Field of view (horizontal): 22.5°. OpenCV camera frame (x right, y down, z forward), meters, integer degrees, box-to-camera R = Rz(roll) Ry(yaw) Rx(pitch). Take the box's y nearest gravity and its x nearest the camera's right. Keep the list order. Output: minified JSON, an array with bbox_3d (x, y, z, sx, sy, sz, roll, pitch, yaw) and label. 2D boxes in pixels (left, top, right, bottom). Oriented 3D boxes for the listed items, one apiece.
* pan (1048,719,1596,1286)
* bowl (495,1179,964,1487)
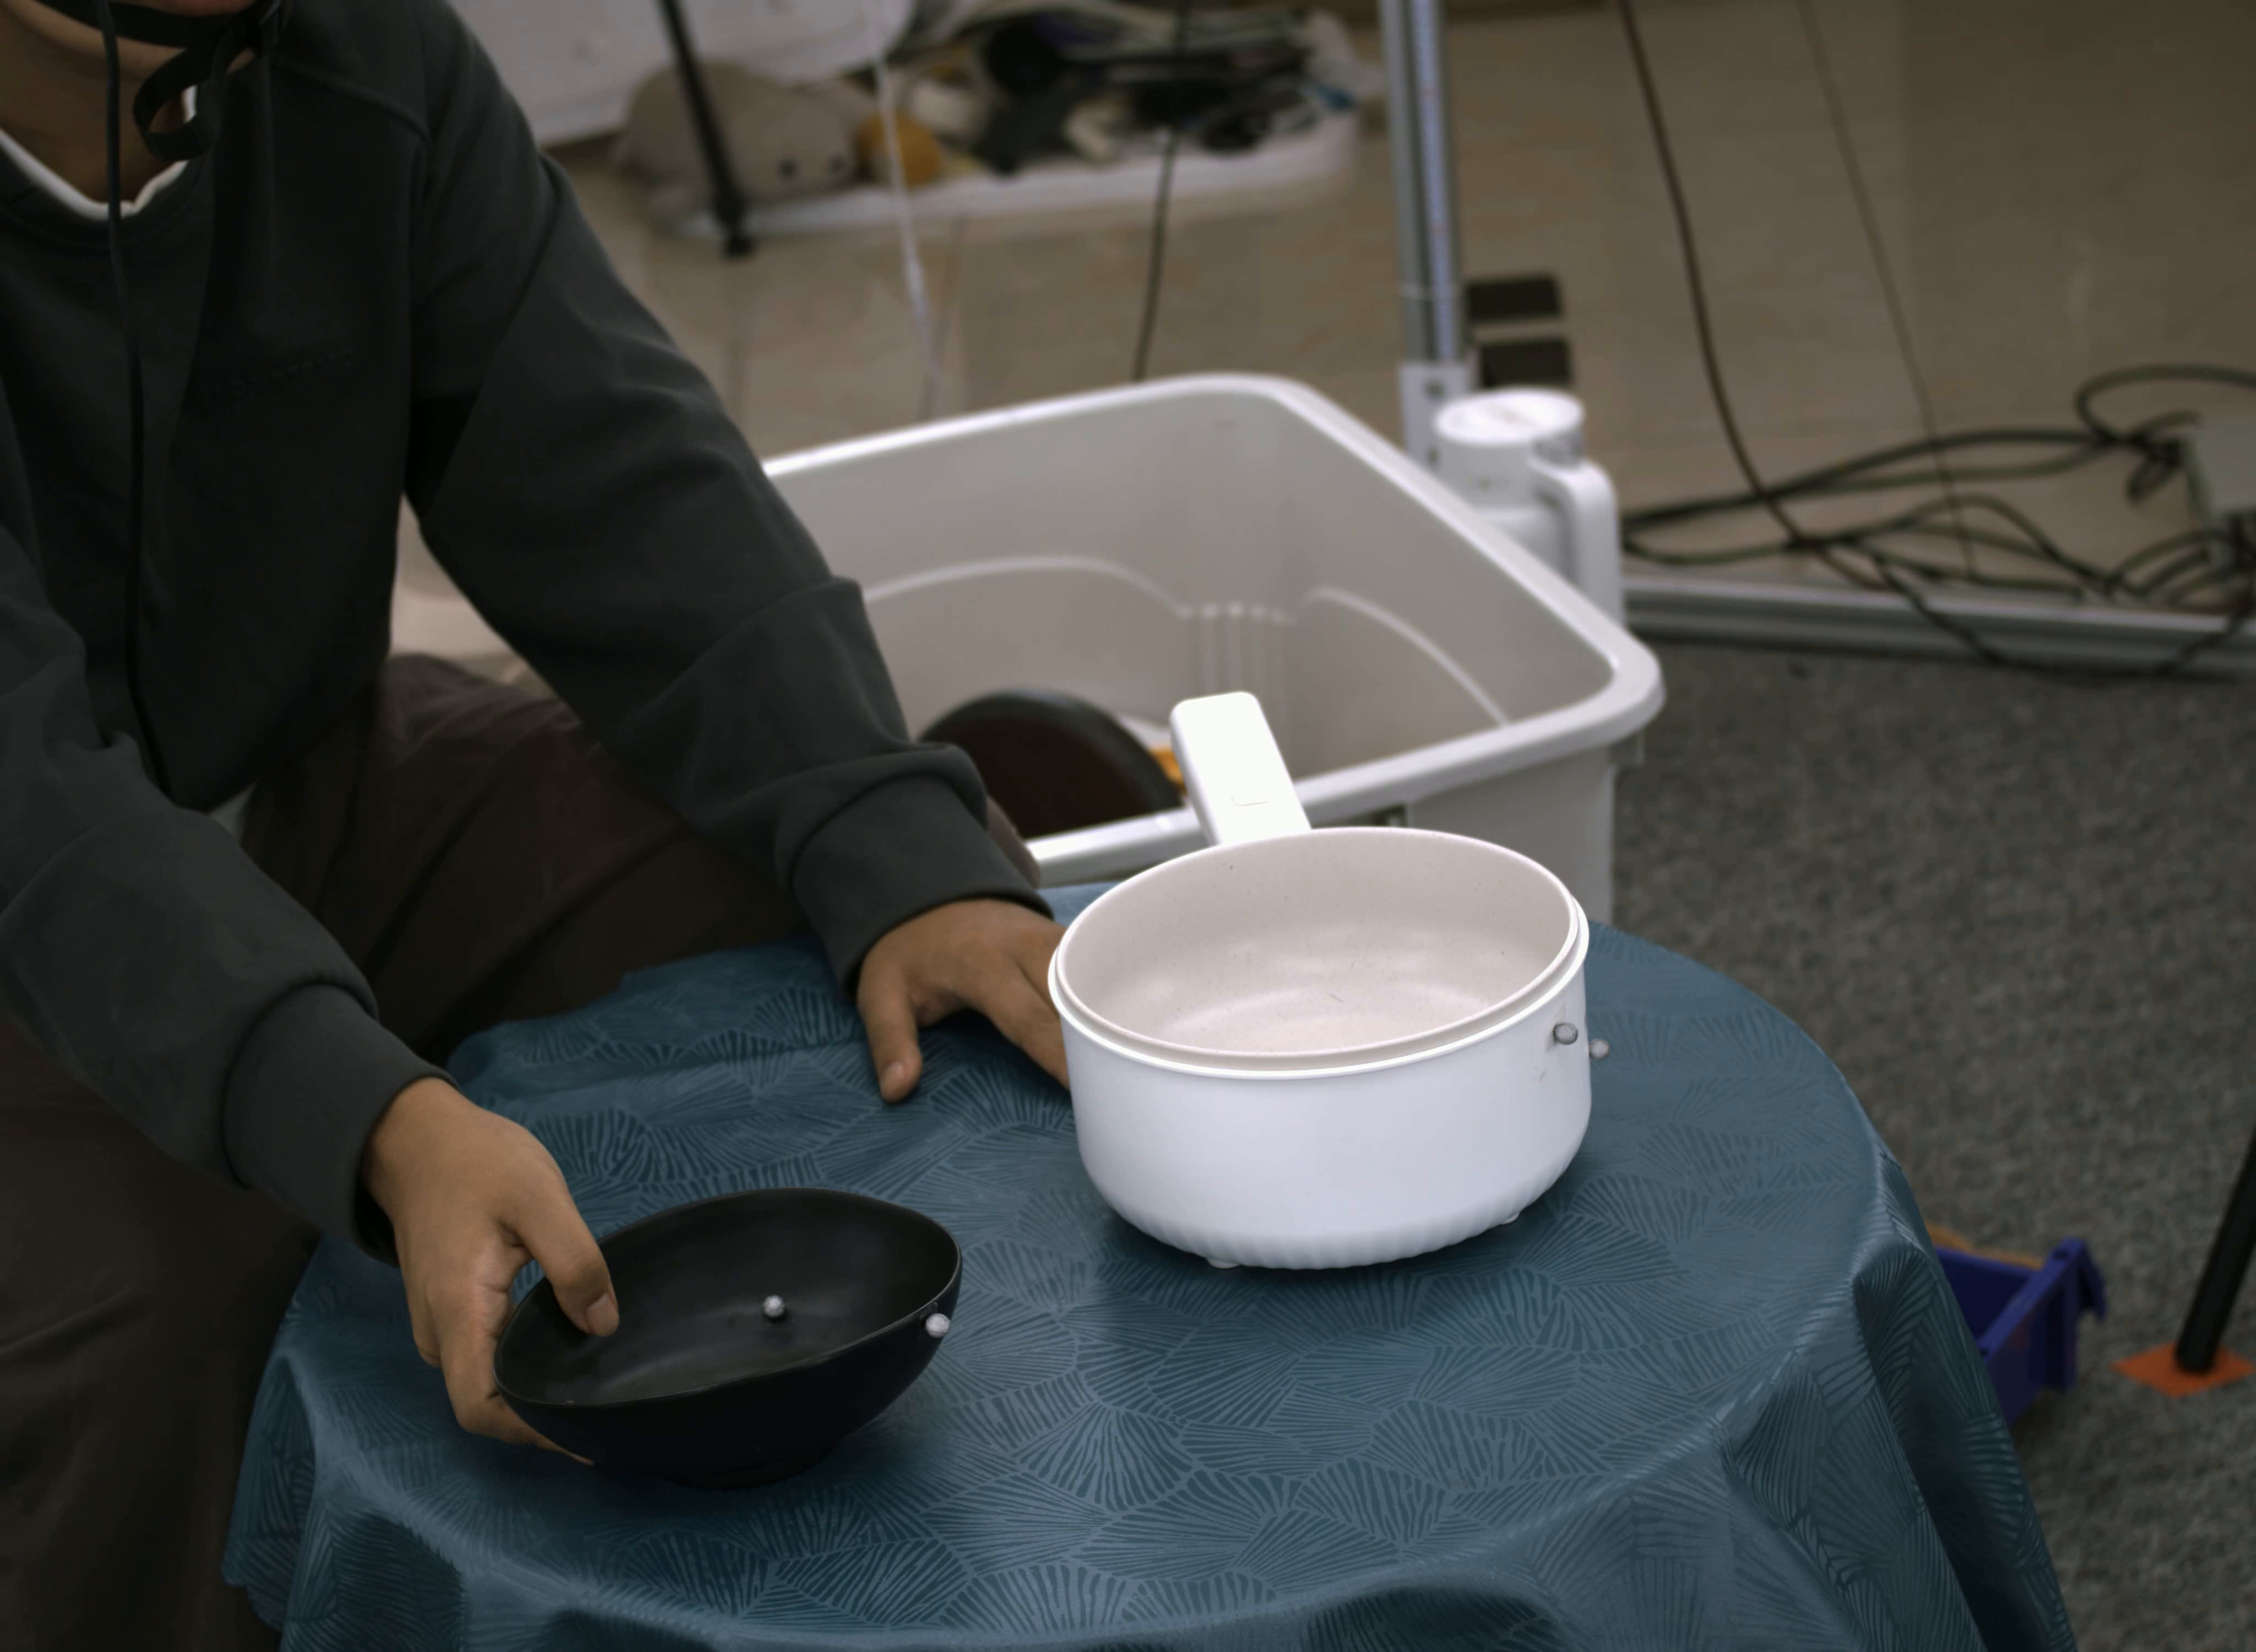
[{"bbox_3d":[0.065,0.065,2.193,0.201,0.103,0.350,-12,23,-4],"label":"pan"},{"bbox_3d":[-0.136,0.188,1.995,0.169,0.068,0.135,-17,27,-17],"label":"bowl"}]
